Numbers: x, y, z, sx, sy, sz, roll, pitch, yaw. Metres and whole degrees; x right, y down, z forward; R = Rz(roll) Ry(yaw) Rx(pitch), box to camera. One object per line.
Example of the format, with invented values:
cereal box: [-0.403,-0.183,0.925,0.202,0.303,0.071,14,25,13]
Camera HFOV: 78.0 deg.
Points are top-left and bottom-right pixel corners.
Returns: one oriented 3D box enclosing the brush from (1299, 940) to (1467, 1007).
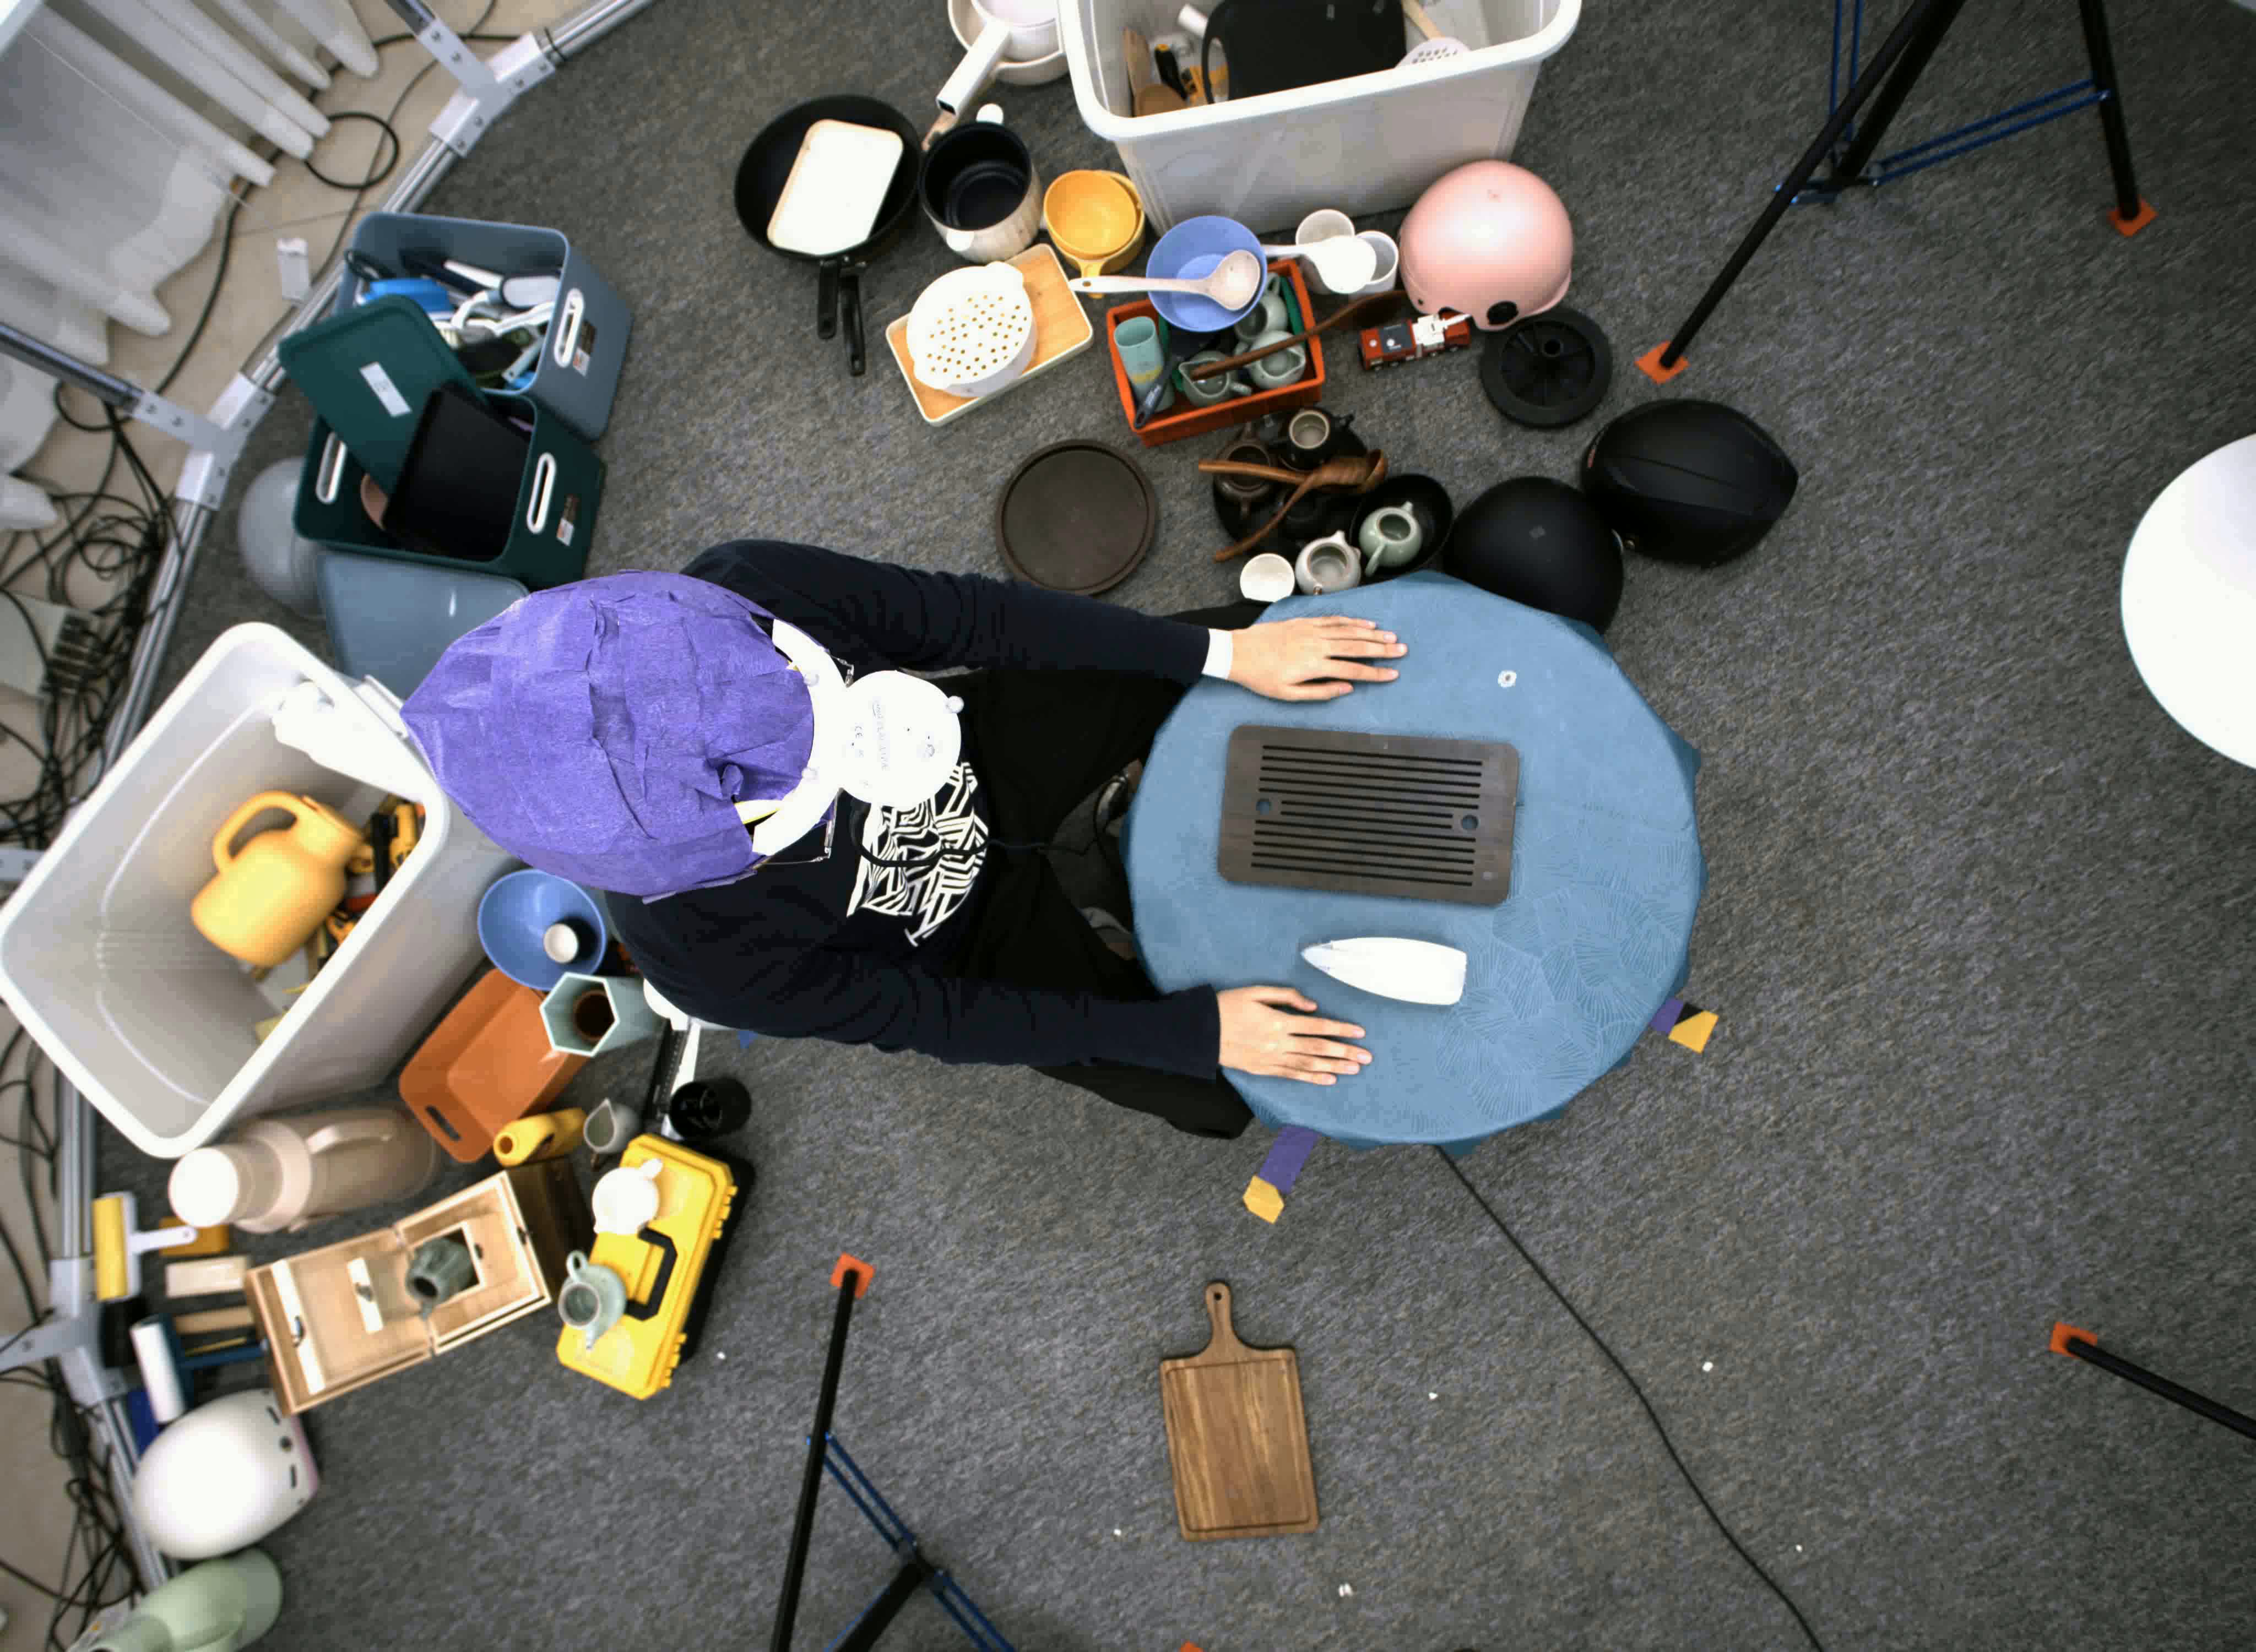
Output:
brush: [0.259,0.143,1.411,0.176,0.094,0.061,9,87,13]

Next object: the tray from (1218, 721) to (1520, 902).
tray: [0.253,-0.018,1.458,0.307,0.018,0.169,5,88,11]
